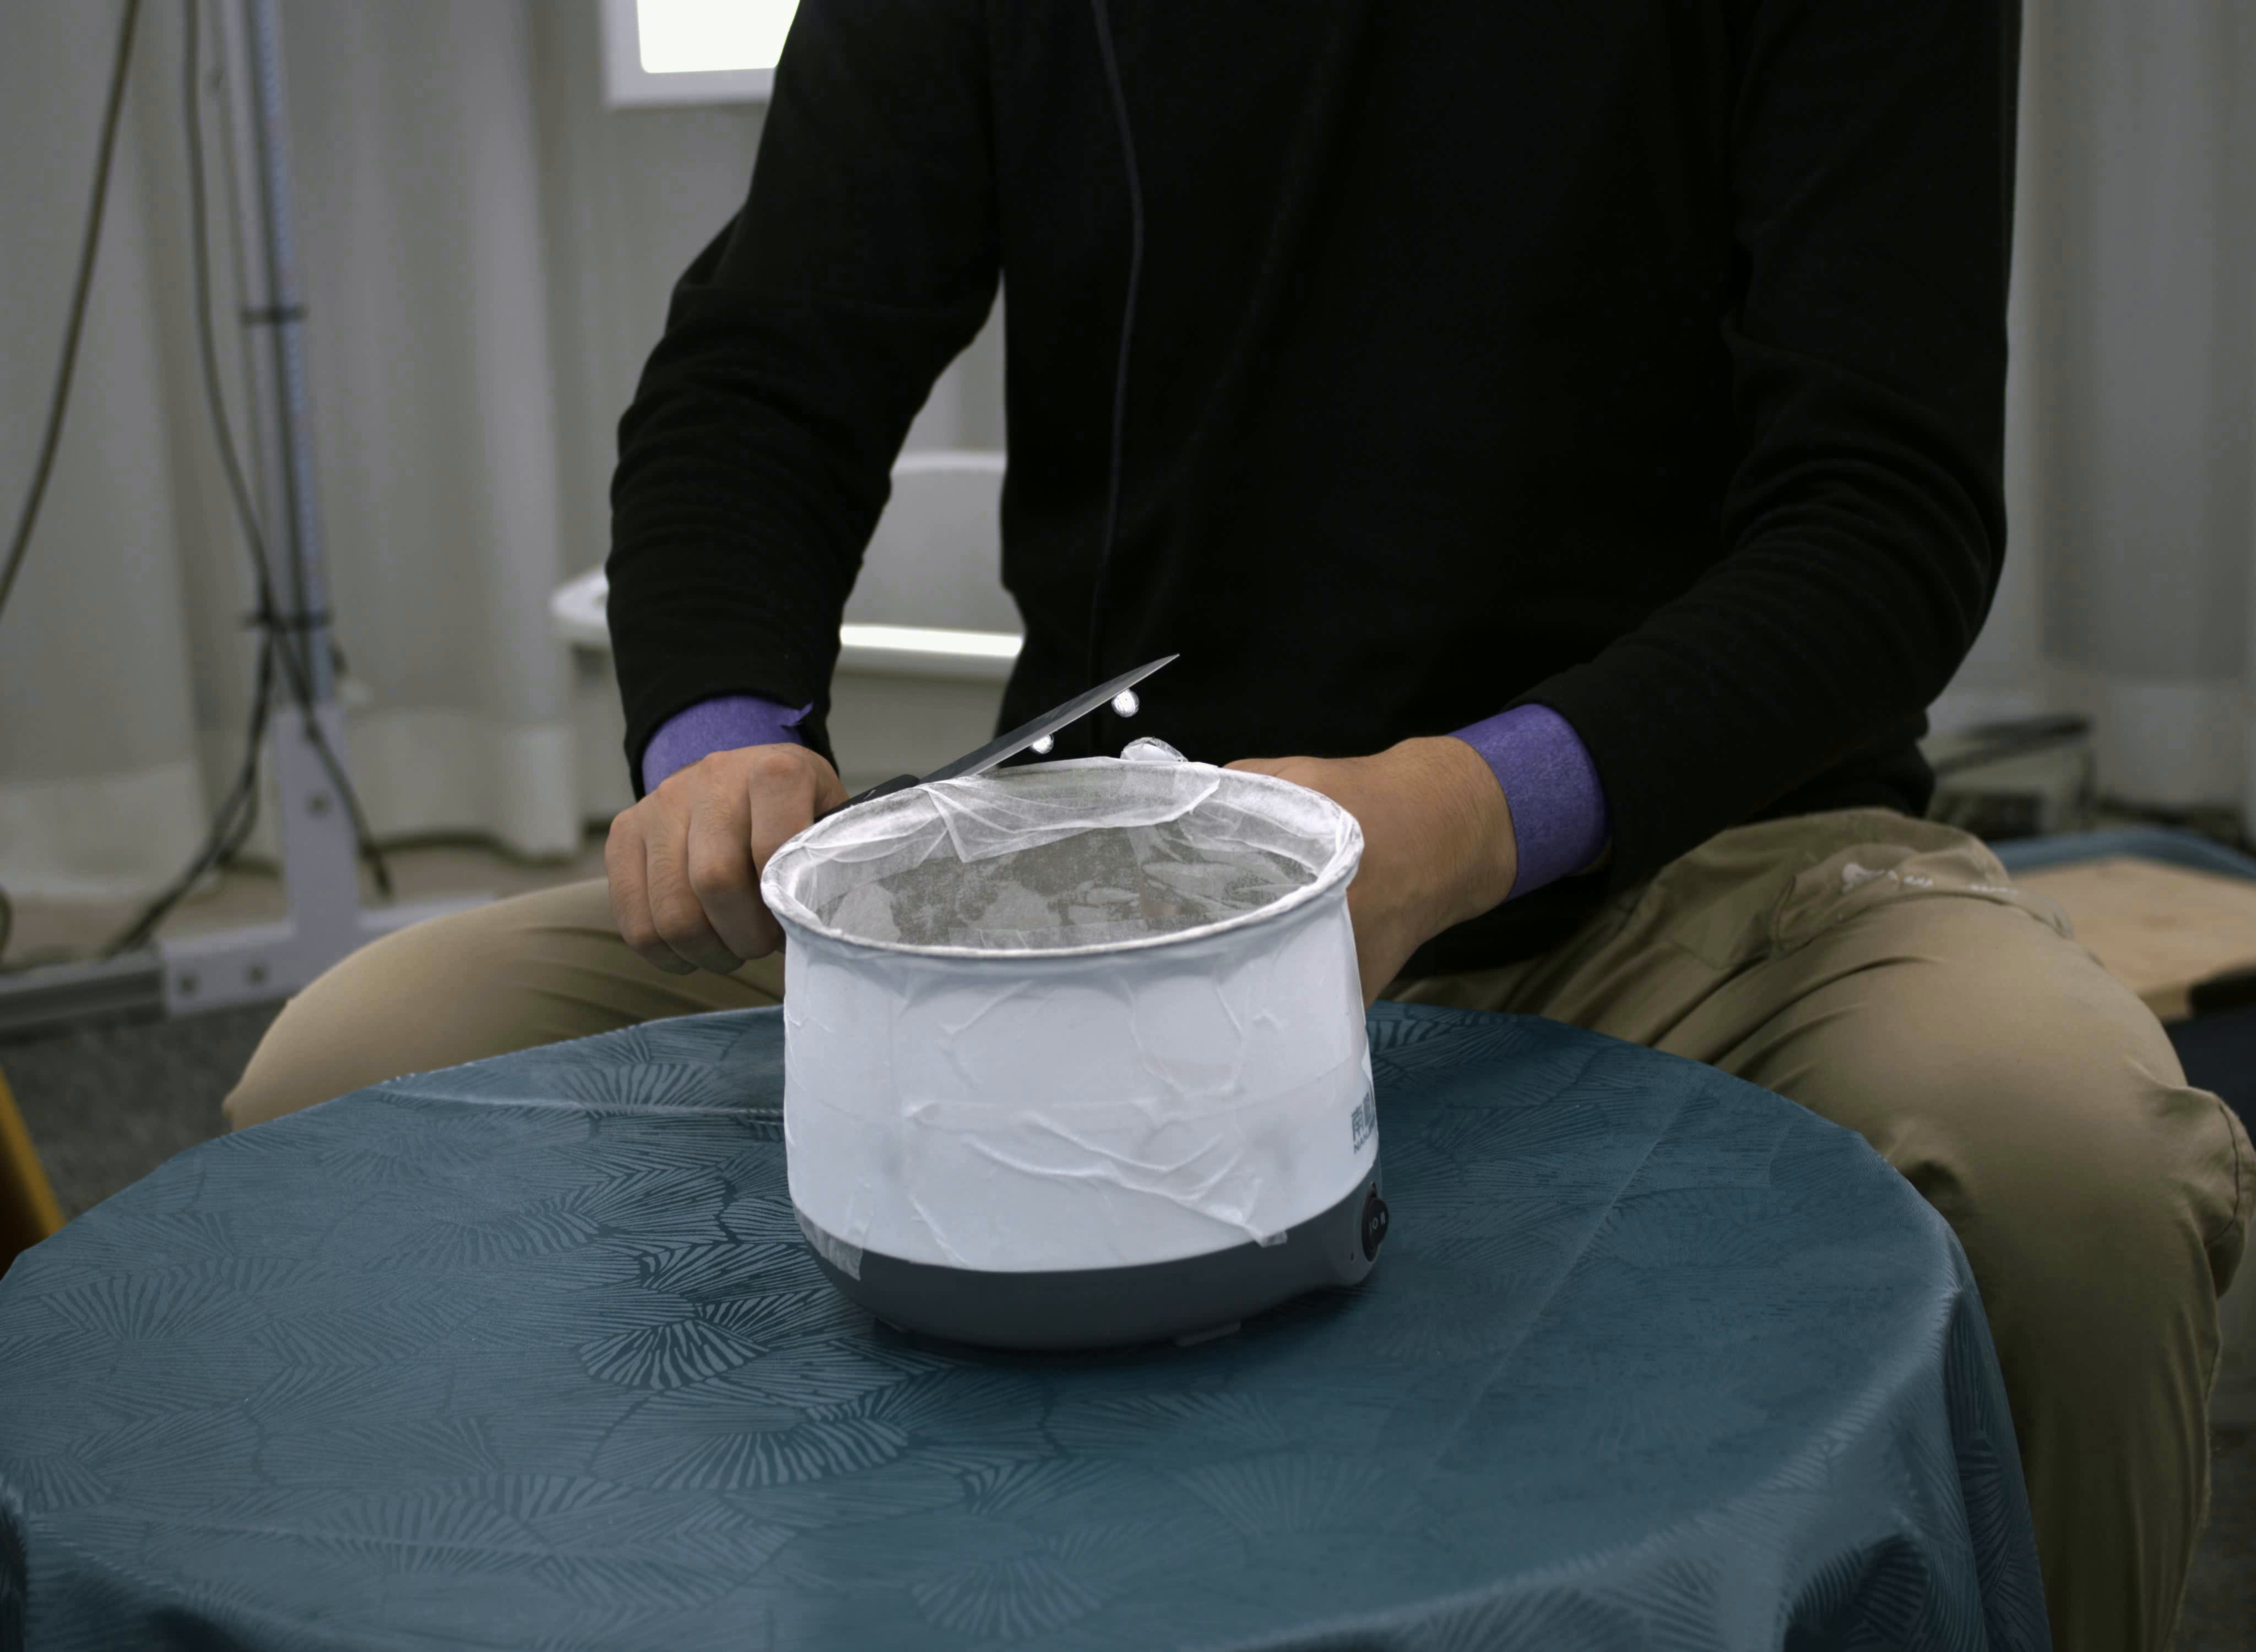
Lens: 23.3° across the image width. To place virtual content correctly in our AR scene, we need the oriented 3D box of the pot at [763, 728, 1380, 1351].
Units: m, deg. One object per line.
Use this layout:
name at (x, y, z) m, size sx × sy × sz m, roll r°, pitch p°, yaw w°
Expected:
pot at (-0.009, 0.058, 1.643) m, size 0.178 × 0.136 × 0.235 m, roll 2°, pitch 19°, yaw 14°

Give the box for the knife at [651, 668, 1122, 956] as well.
knife at (-0.075, -0.007, 1.713) m, size 0.237 × 0.016 × 0.024 m, roll -29°, pitch 18°, yaw 44°
